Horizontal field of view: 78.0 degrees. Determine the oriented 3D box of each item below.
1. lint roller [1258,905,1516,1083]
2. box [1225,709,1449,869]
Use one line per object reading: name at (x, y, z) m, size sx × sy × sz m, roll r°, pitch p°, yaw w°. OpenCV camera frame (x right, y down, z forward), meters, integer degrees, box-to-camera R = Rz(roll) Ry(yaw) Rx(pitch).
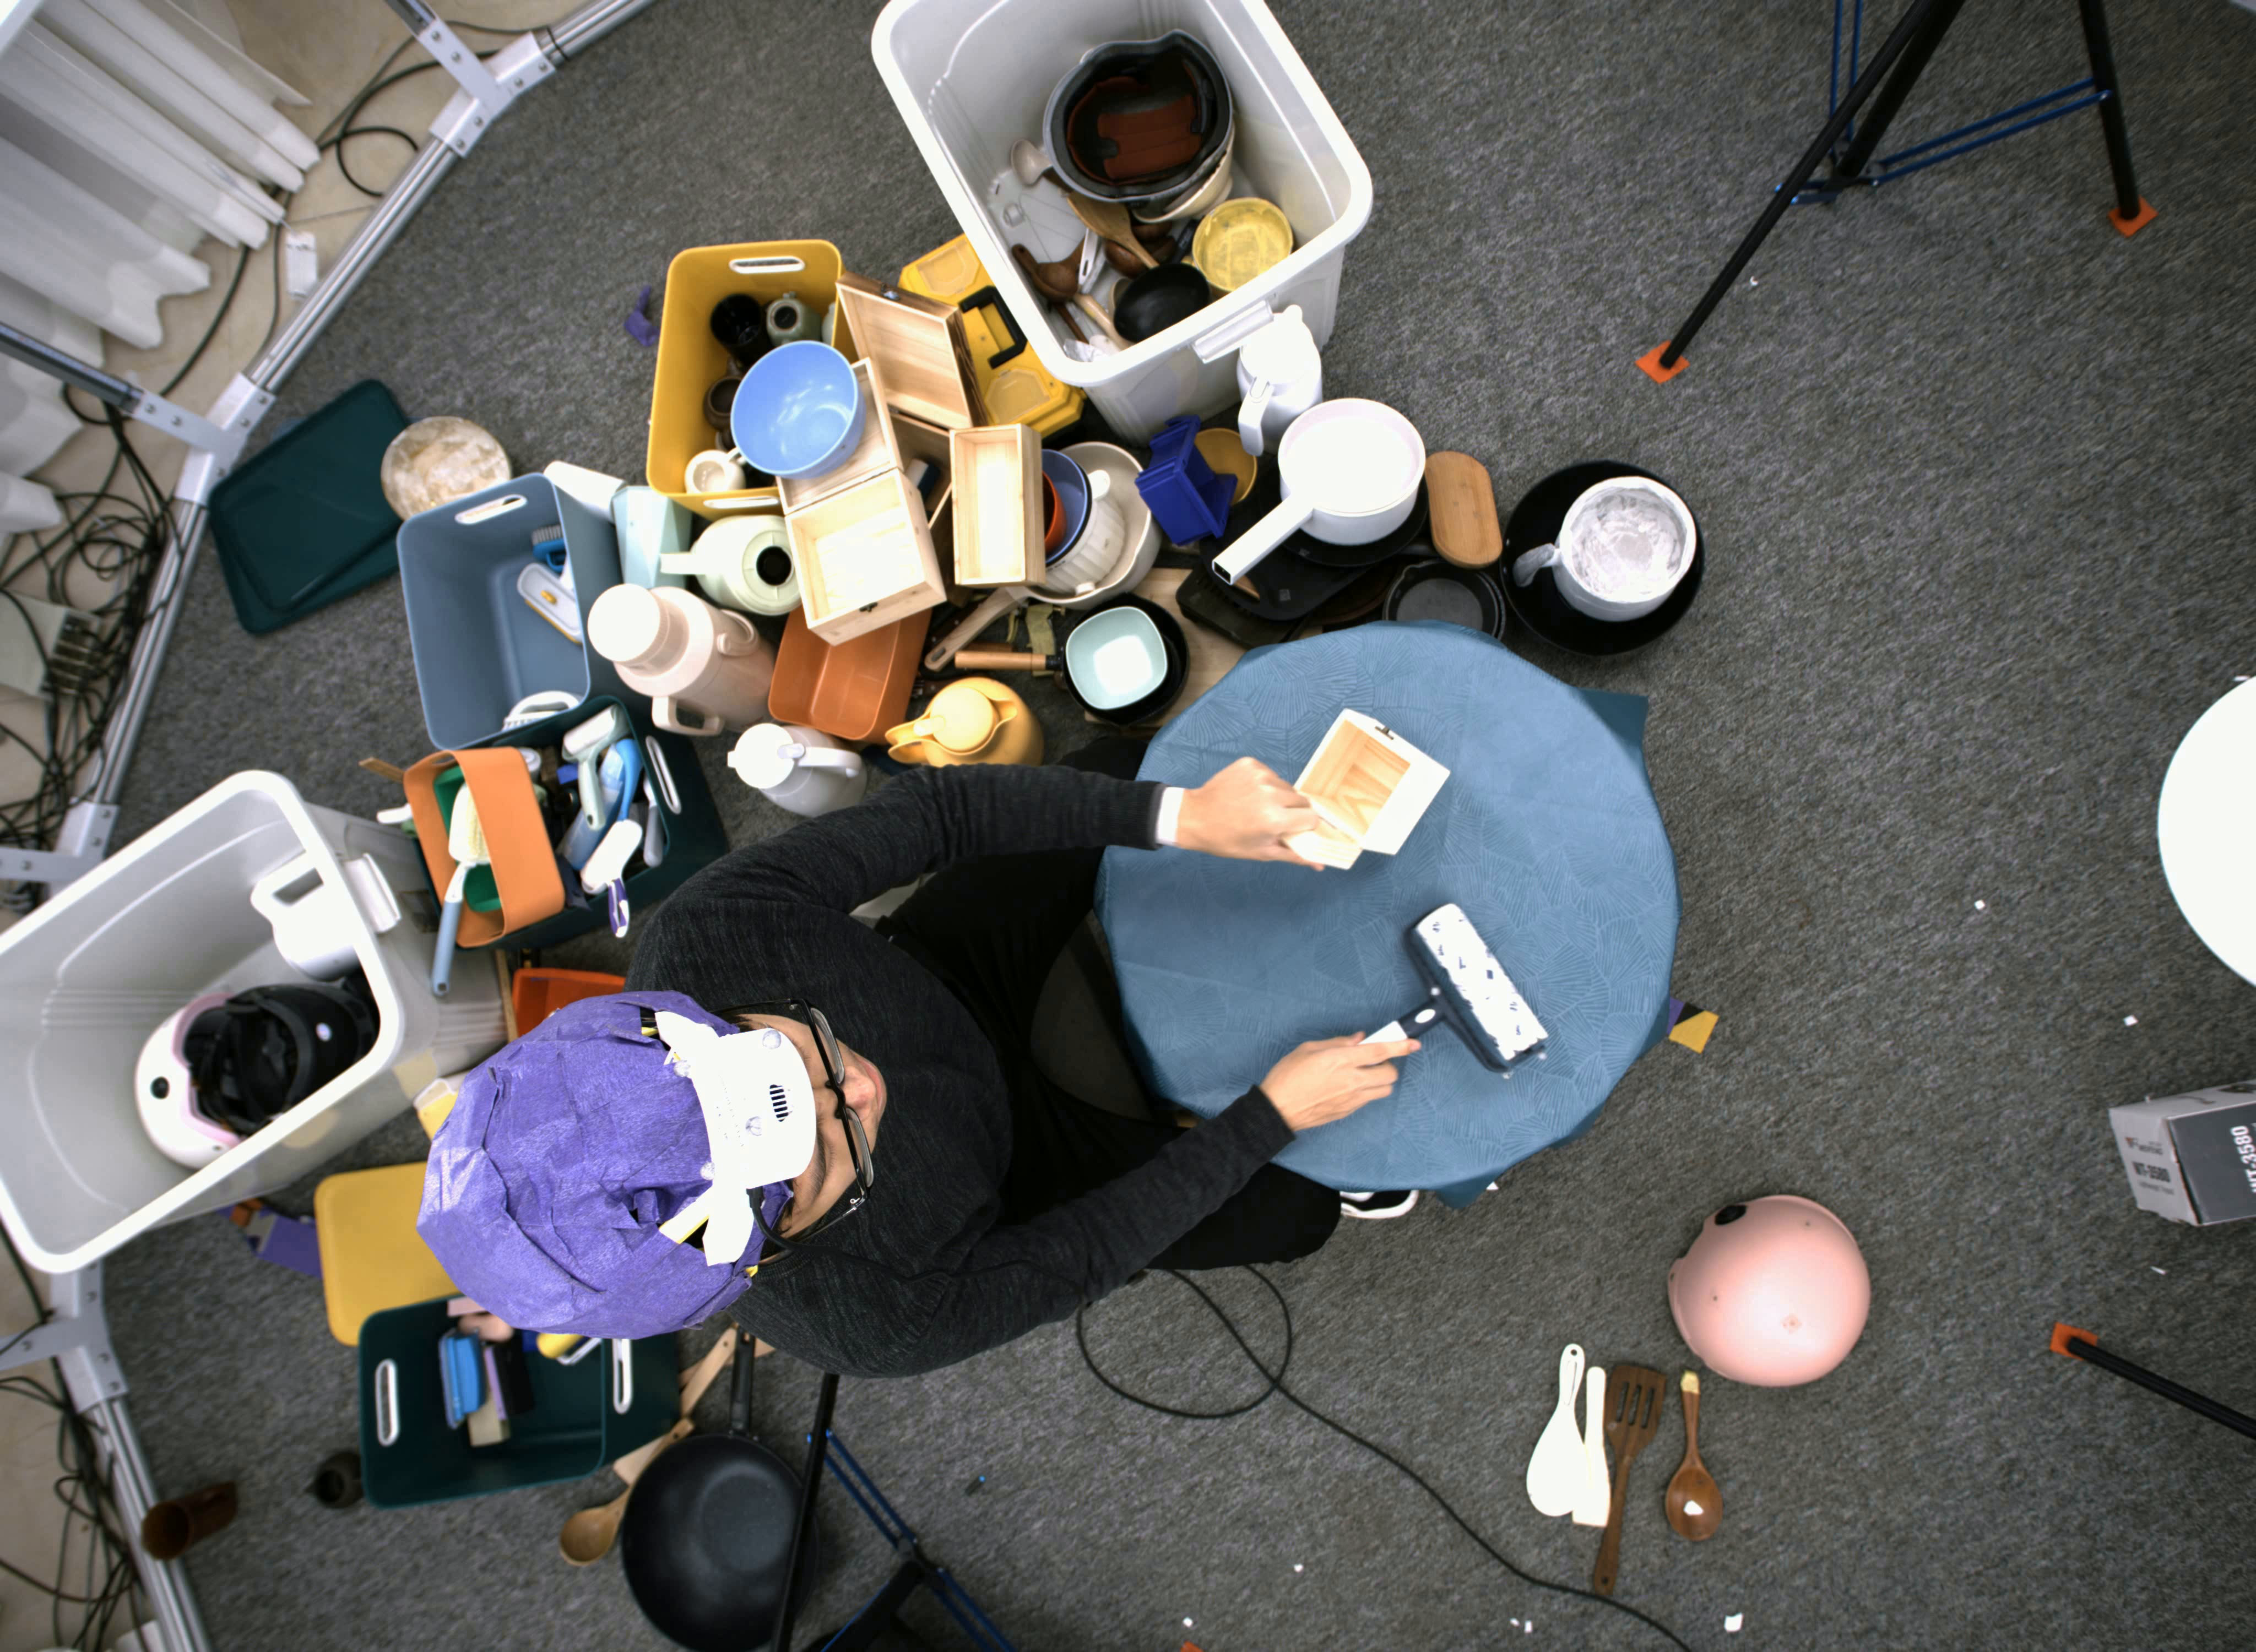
lint roller at (0.246, 0.204, 1.399) m, size 0.248 × 0.051 × 0.174 m, roll -24°, pitch 70°, yaw 9°
box at (0.205, -0.041, 1.331) m, size 0.101 × 0.184 × 0.136 m, roll 42°, pitch 109°, yaw 32°
